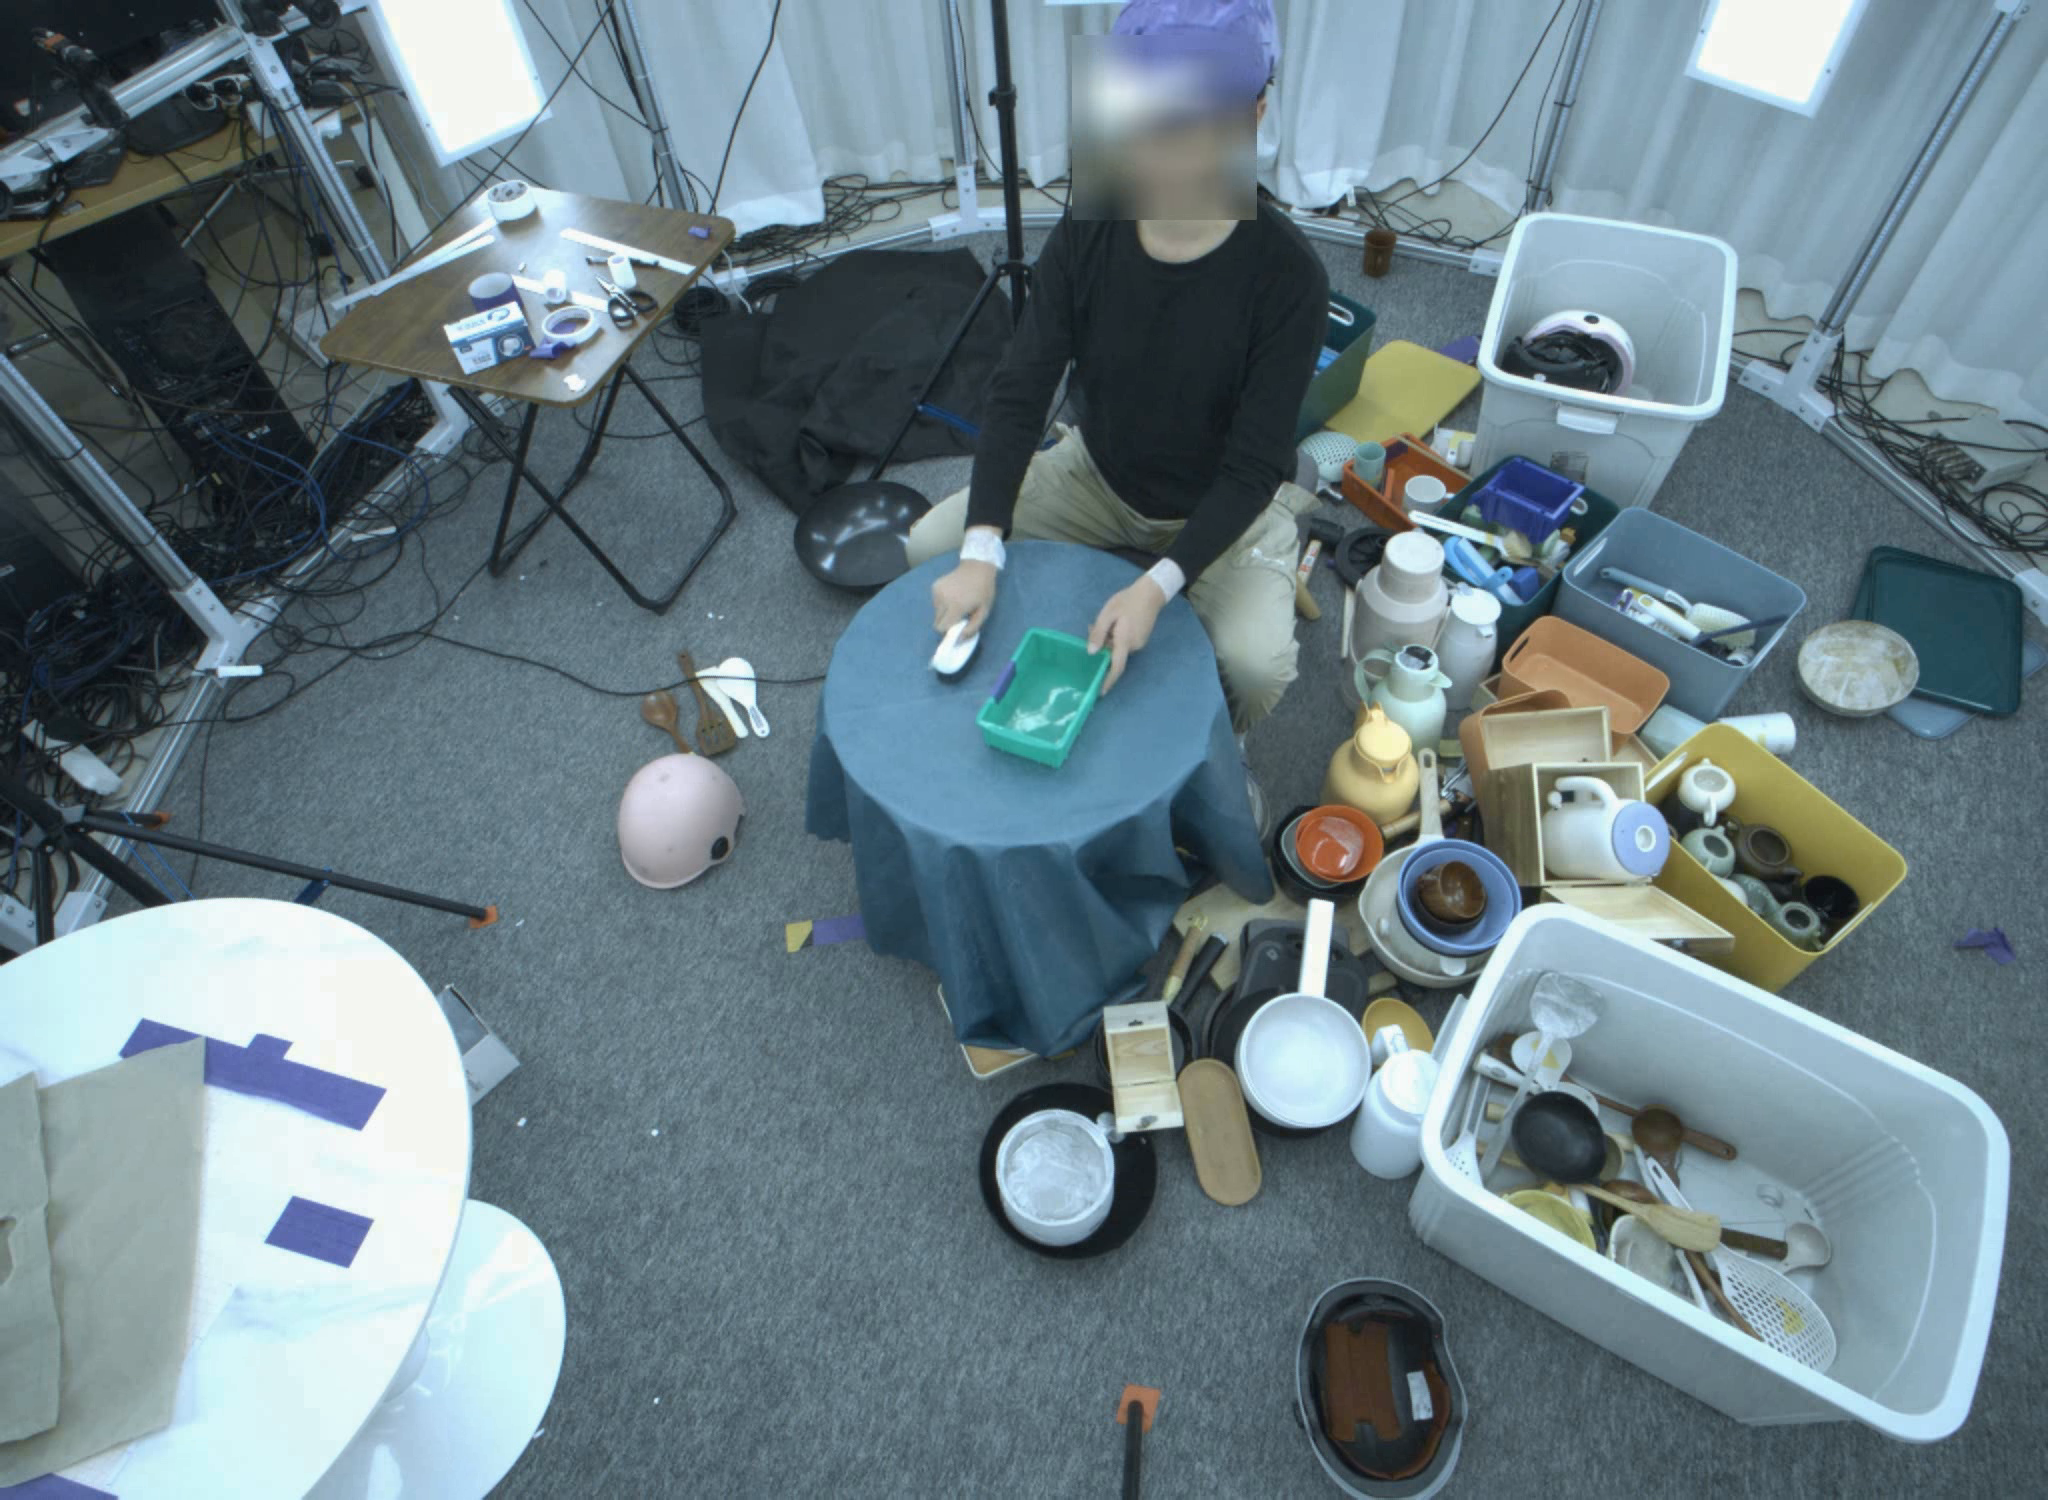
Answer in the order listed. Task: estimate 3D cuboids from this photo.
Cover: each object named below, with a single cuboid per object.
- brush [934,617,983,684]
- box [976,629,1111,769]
[{"bbox_3d":[-0.102,-0.158,1.858,0.049,0.073,0.099,20,58,18],"label":"brush"},{"bbox_3d":[0.032,-0.072,1.800,0.137,0.066,0.210,17,58,16],"label":"box"}]
